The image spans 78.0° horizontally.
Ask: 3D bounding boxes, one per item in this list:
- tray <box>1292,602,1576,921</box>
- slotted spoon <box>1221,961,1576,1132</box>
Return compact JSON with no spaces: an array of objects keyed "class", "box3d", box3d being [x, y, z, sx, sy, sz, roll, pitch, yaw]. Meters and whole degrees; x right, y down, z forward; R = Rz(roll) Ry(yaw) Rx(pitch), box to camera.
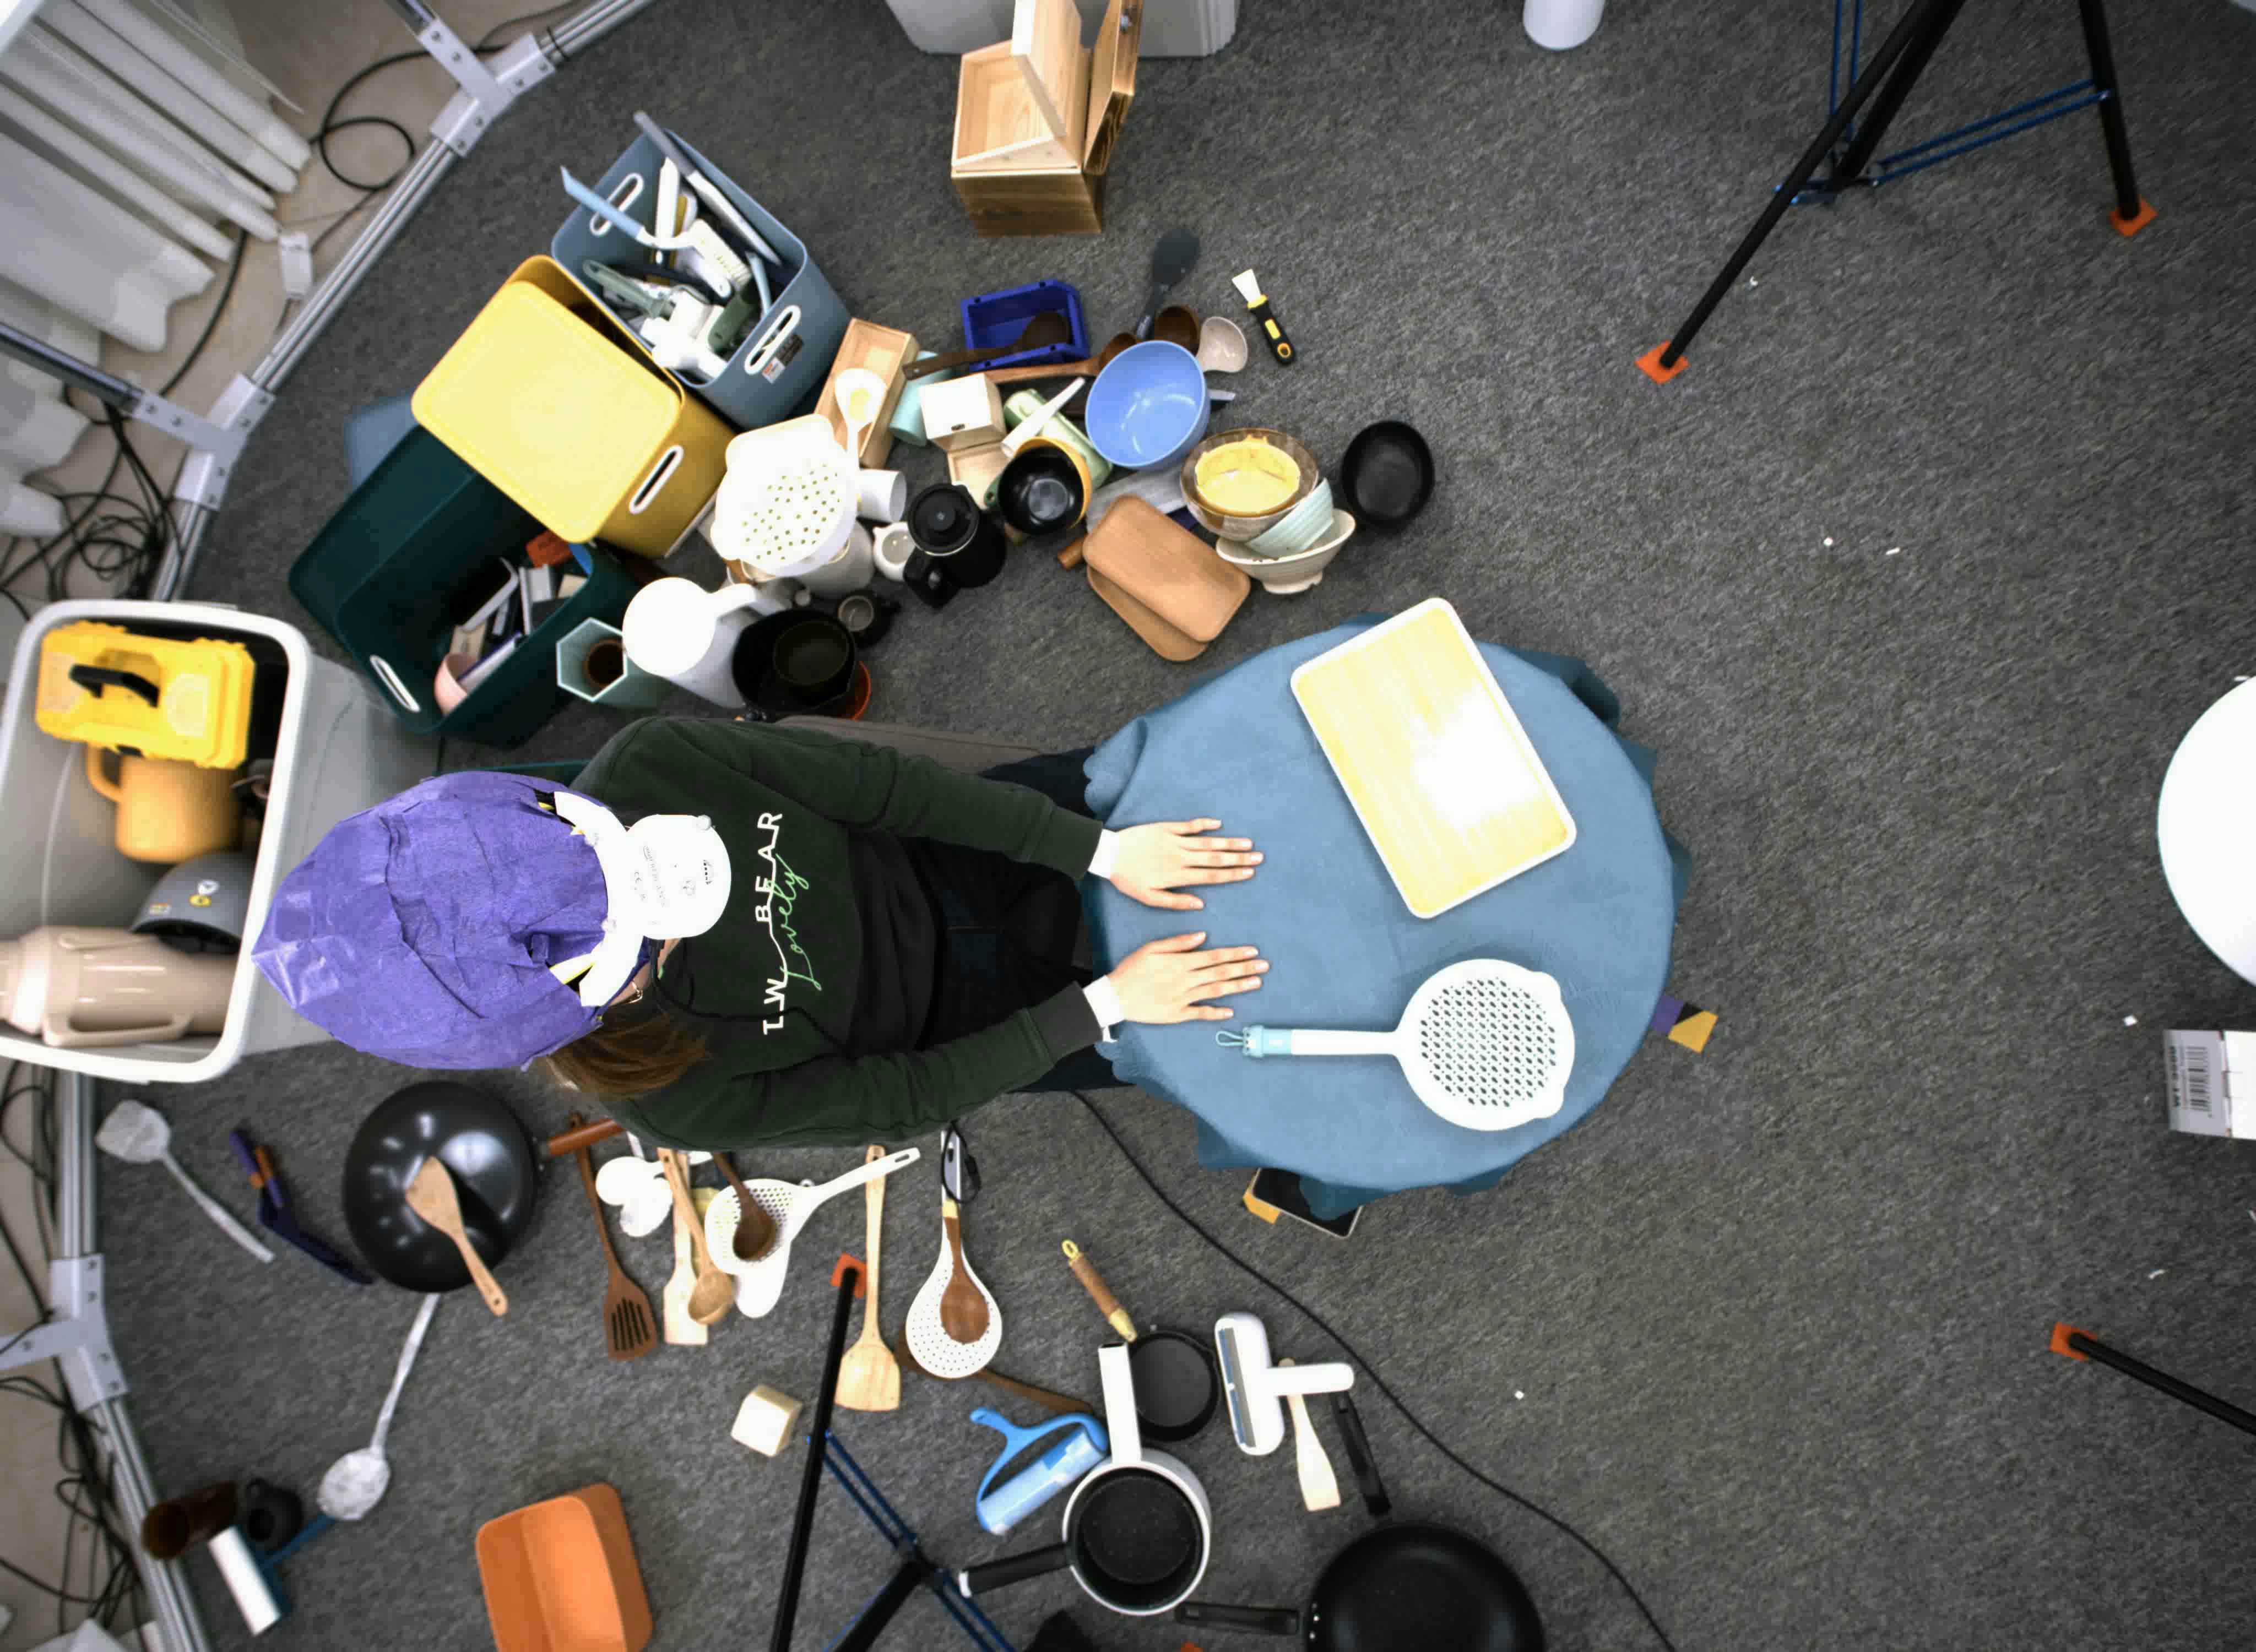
[{"class":"tray","box3d":[0.320,-0.070,1.452,0.192,0.027,0.298,-28,81,7]},{"class":"slotted spoon","box3d":[0.271,0.223,1.422,0.360,0.075,0.168,-1,85,10]}]
